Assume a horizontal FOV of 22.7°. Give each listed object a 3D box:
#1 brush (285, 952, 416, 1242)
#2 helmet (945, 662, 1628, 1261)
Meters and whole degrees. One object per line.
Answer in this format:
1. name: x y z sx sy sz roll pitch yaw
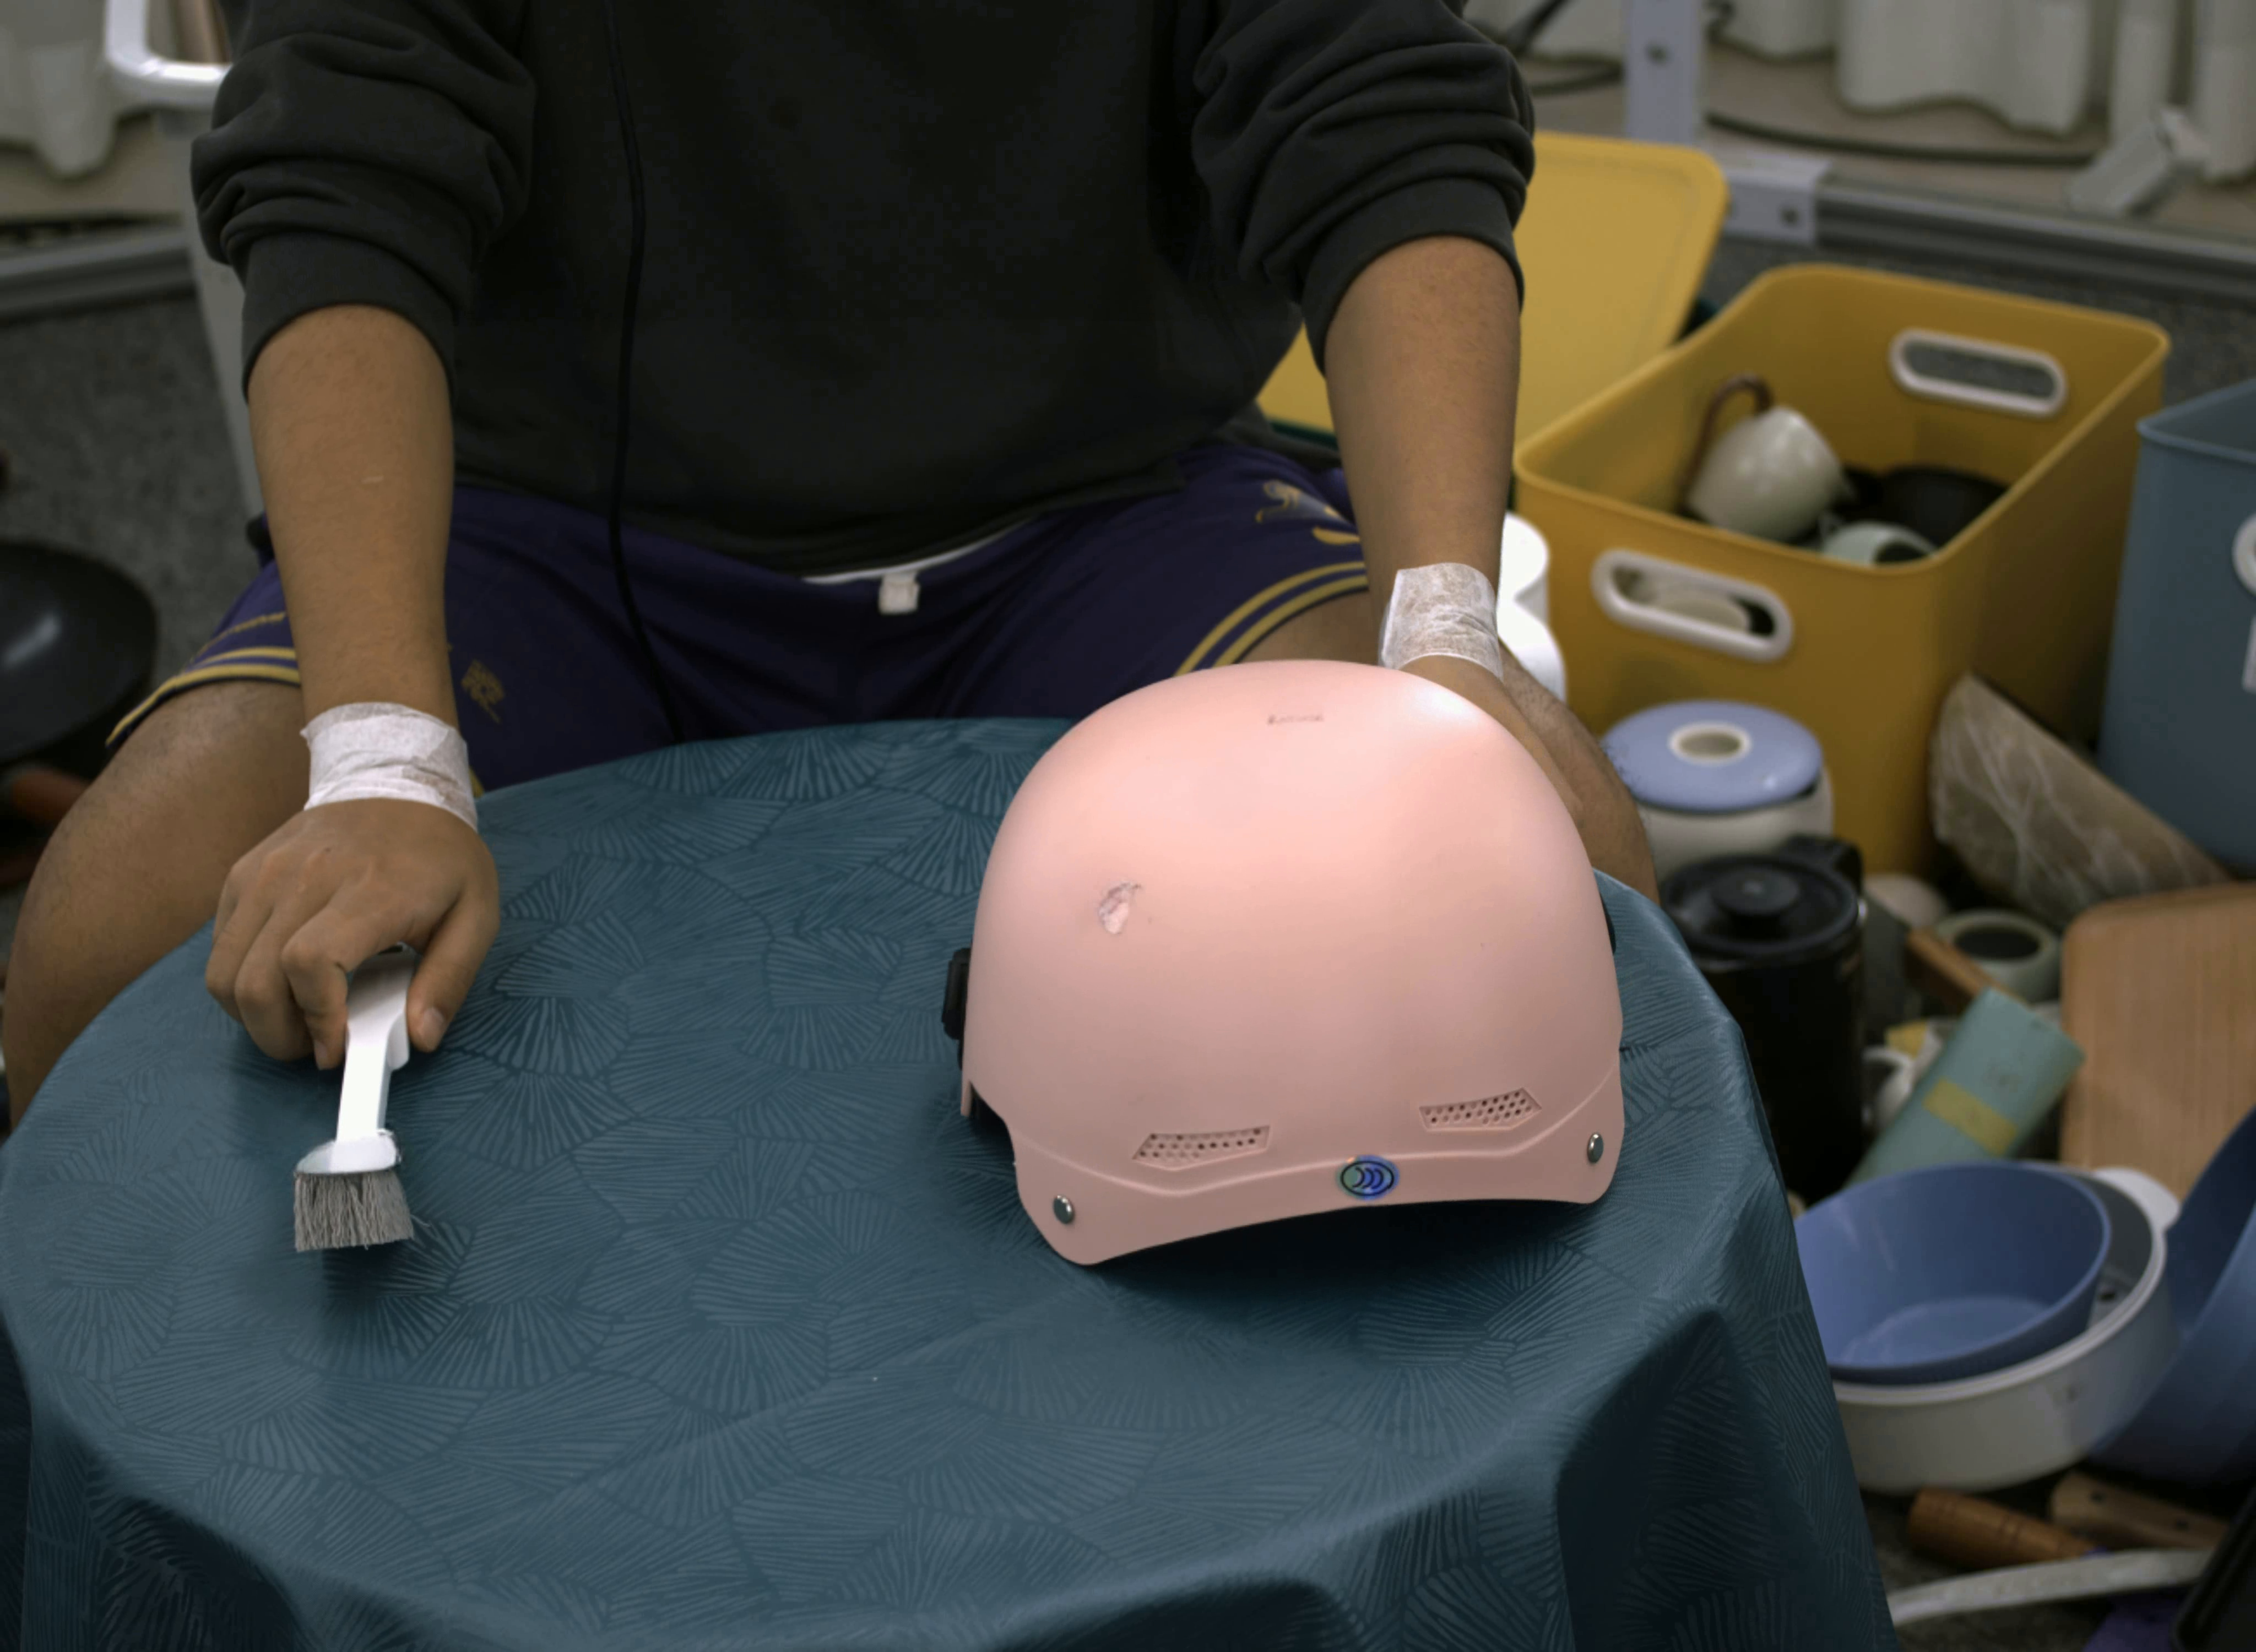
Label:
1. brush: -0.259 0.096 1.915 0.034 0.050 0.245 -7 14 -2
2. helmet: 0.051 0.024 1.882 0.233 0.157 0.269 -8 23 -5
